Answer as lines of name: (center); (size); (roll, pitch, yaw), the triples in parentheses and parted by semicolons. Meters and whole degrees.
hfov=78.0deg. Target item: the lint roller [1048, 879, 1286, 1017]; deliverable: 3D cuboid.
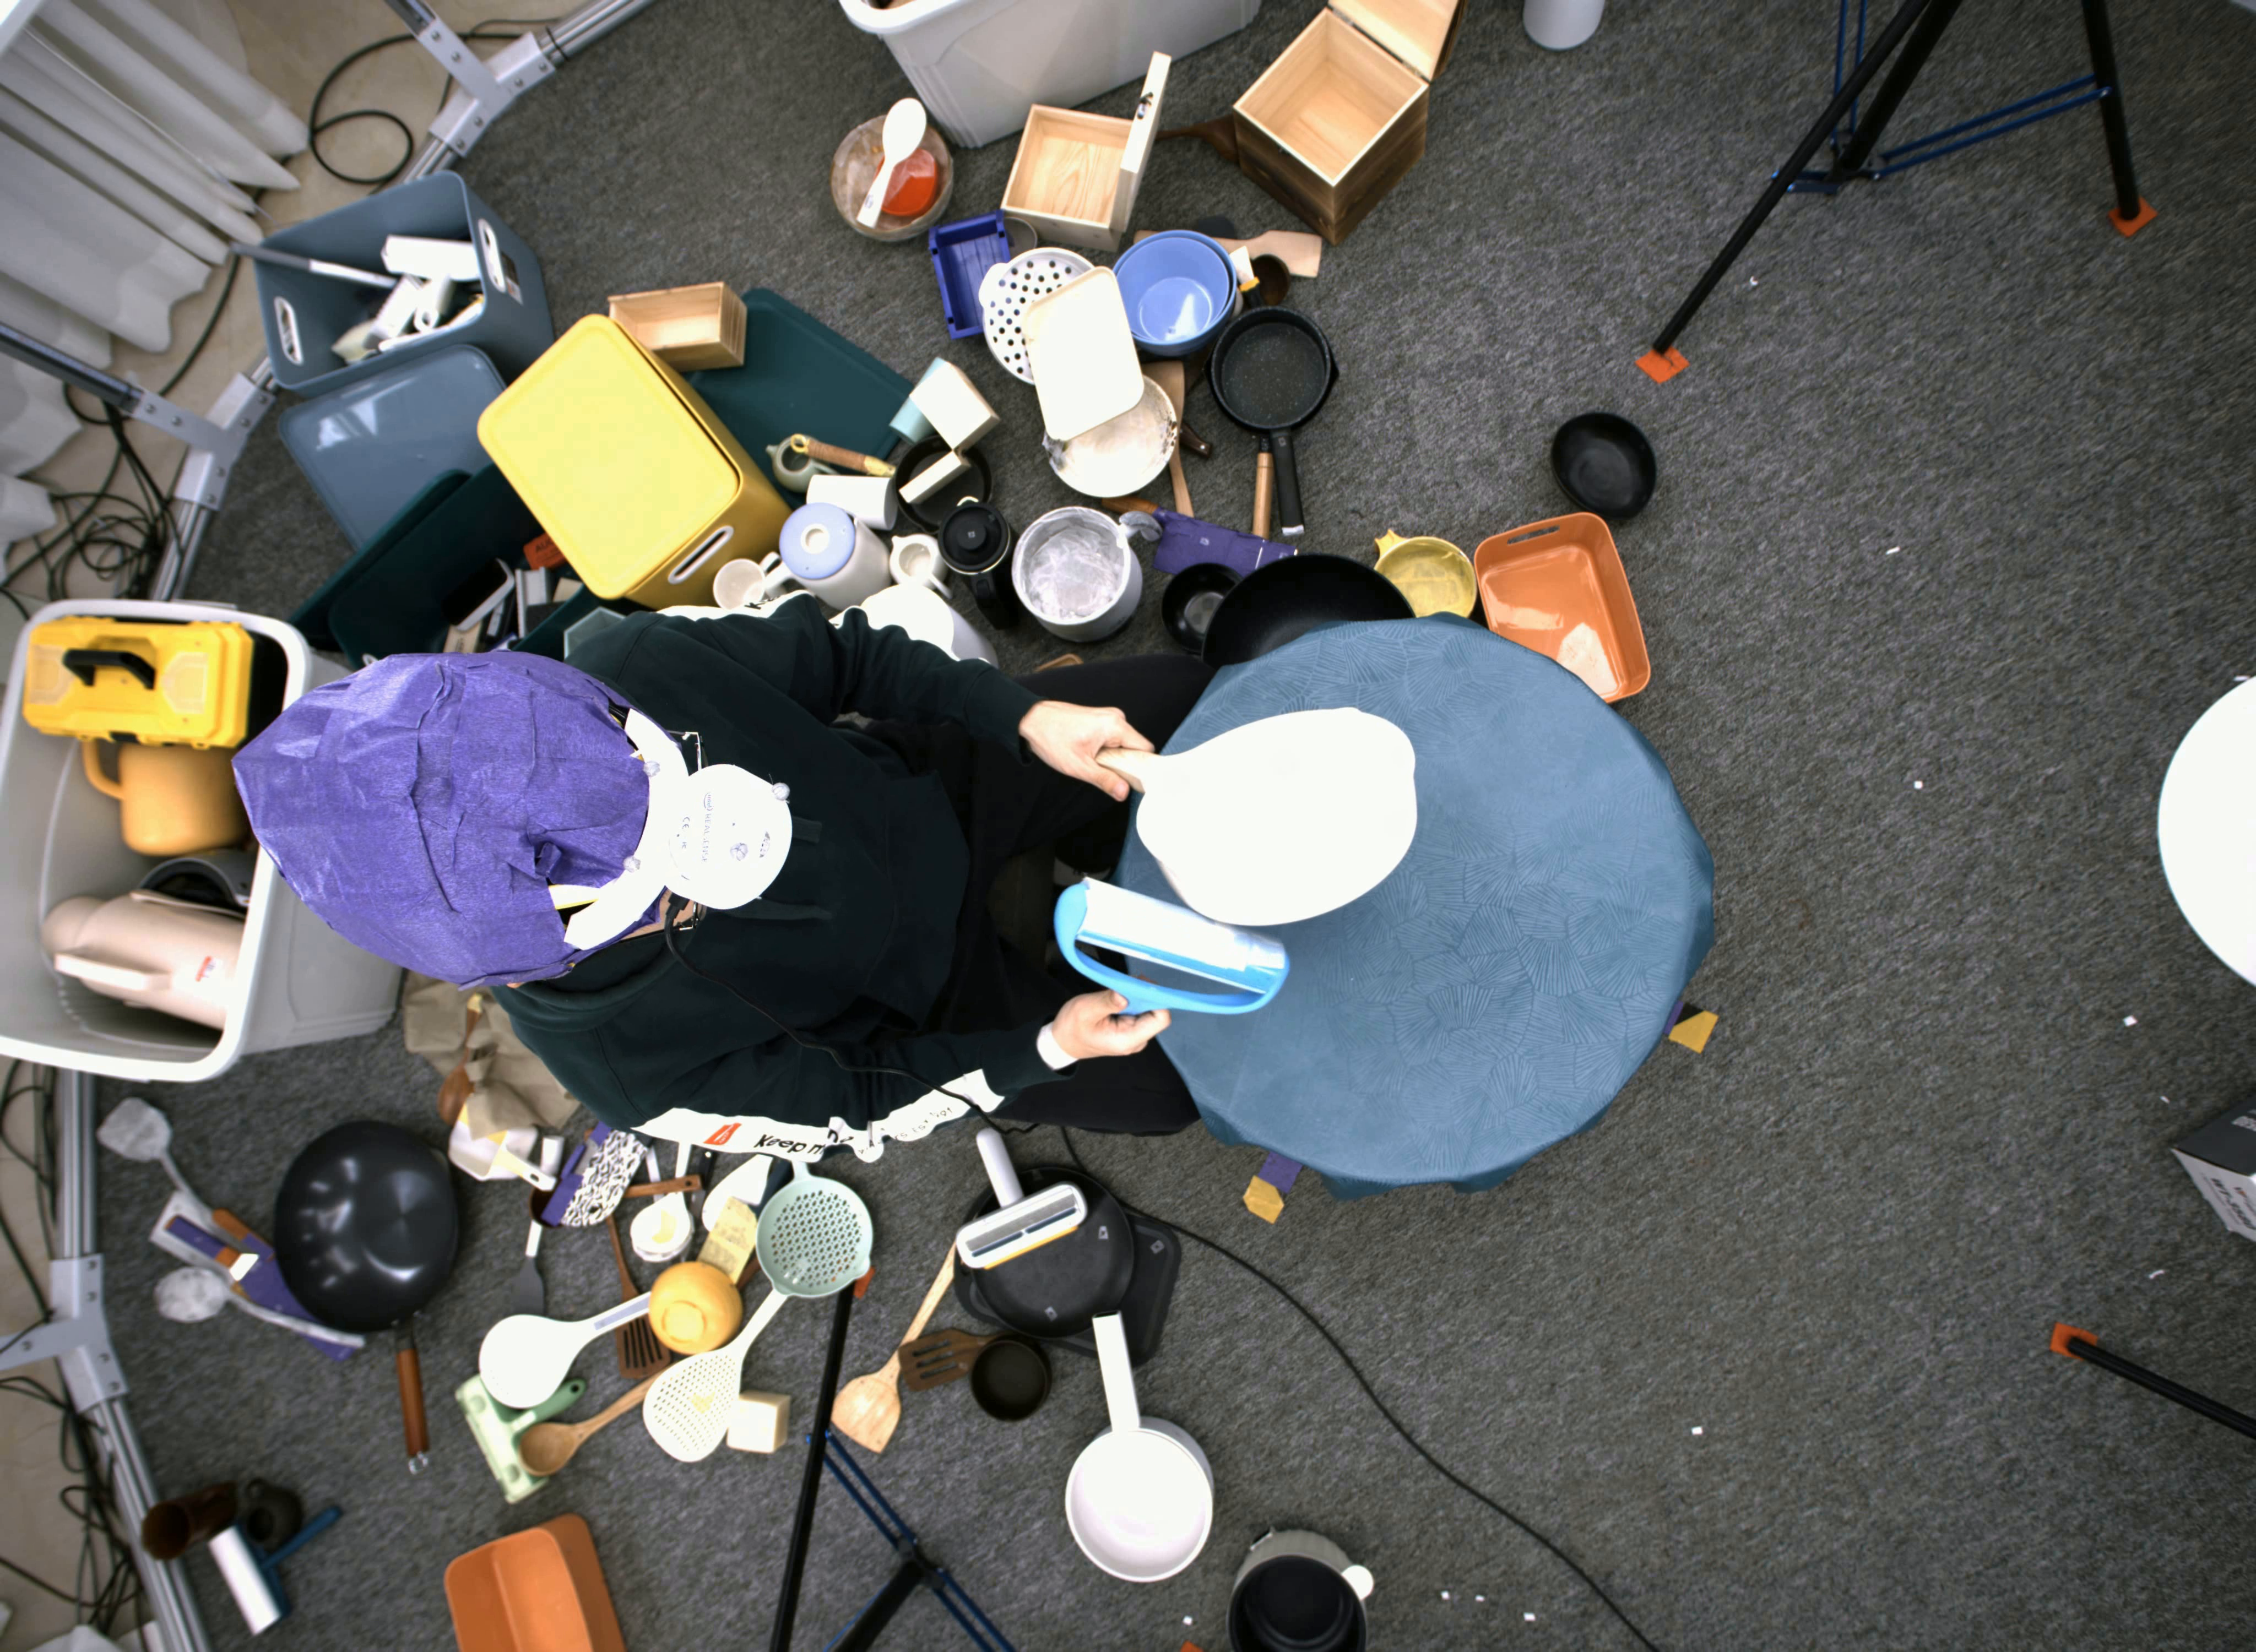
lint roller: (0.013, 0.134, 1.250); (0.229, 0.185, 0.066); (14, 45, -22)

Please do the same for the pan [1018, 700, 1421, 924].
pan: (0.071, -0.026, 1.286); (0.436, 0.104, 0.258); (10, 46, 42)
